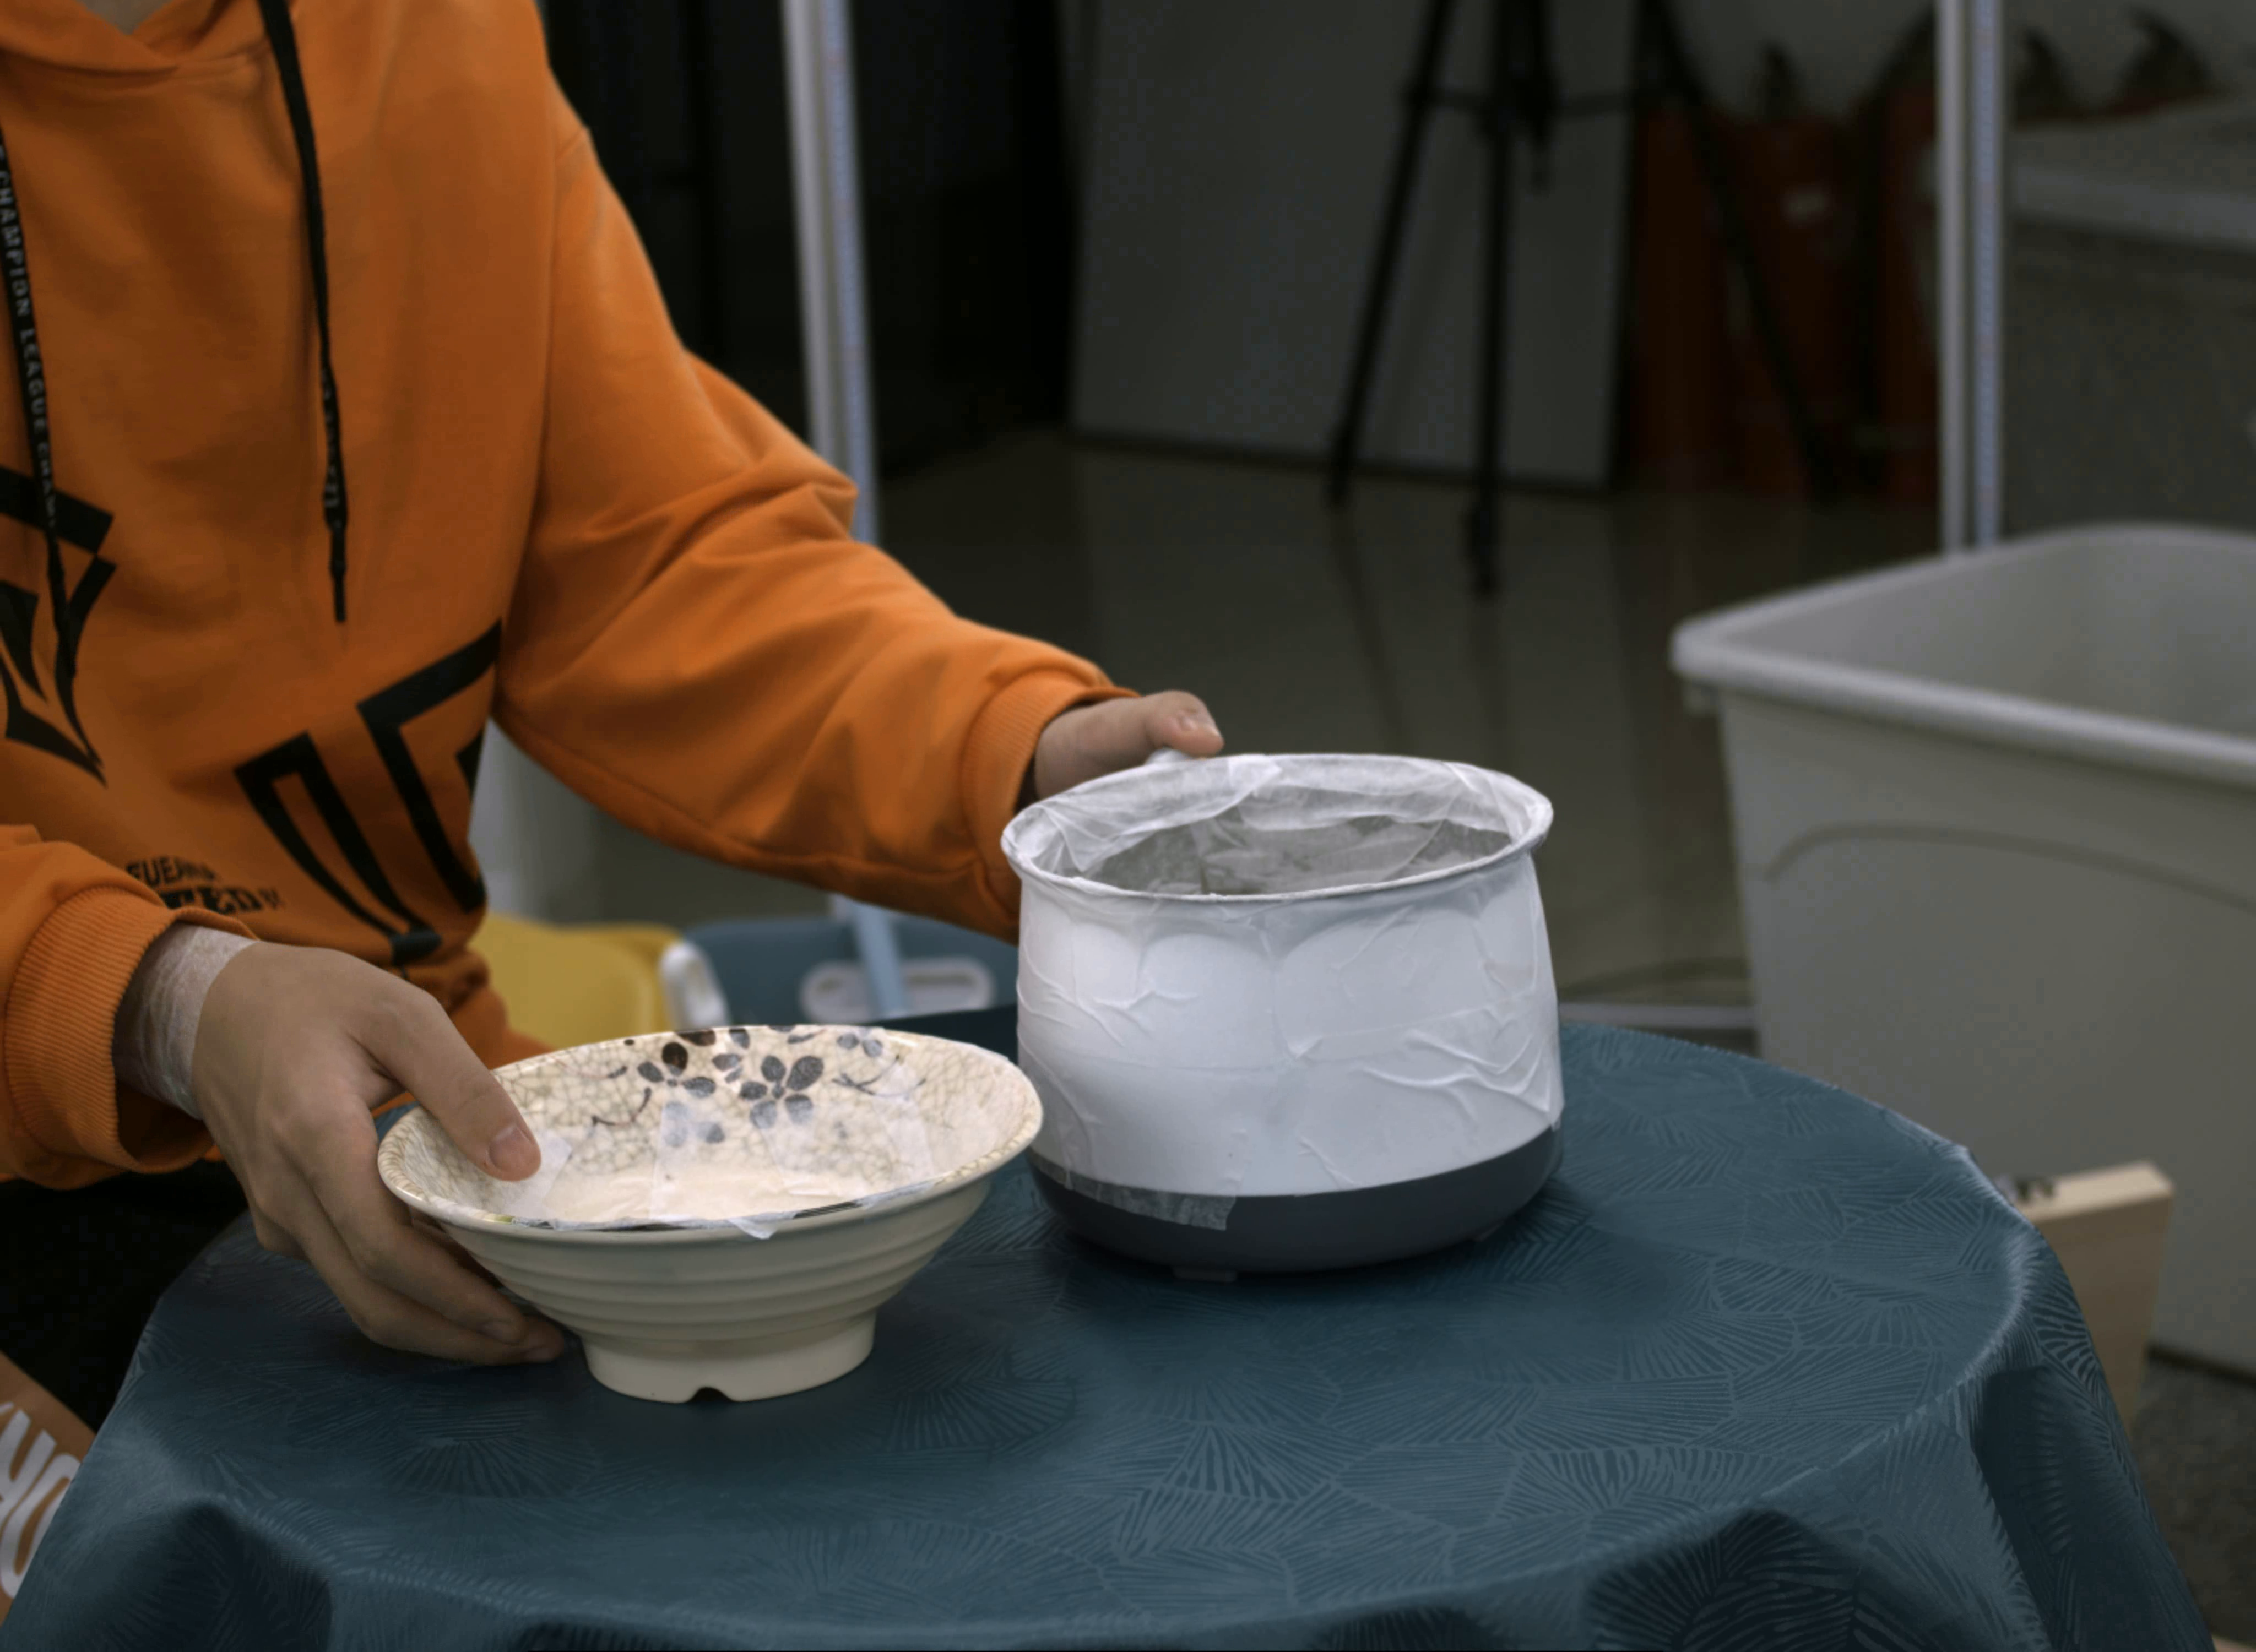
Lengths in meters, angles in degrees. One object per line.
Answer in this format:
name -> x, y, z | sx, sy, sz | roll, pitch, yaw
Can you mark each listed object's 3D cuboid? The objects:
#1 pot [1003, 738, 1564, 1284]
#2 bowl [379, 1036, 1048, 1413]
pot -> 0.041, 0.053, 1.746 | 0.175, 0.138, 0.236 | -8, 14, -18
bowl -> -0.121, 0.126, 1.630 | 0.201, 0.079, 0.204 | -6, 12, 0
